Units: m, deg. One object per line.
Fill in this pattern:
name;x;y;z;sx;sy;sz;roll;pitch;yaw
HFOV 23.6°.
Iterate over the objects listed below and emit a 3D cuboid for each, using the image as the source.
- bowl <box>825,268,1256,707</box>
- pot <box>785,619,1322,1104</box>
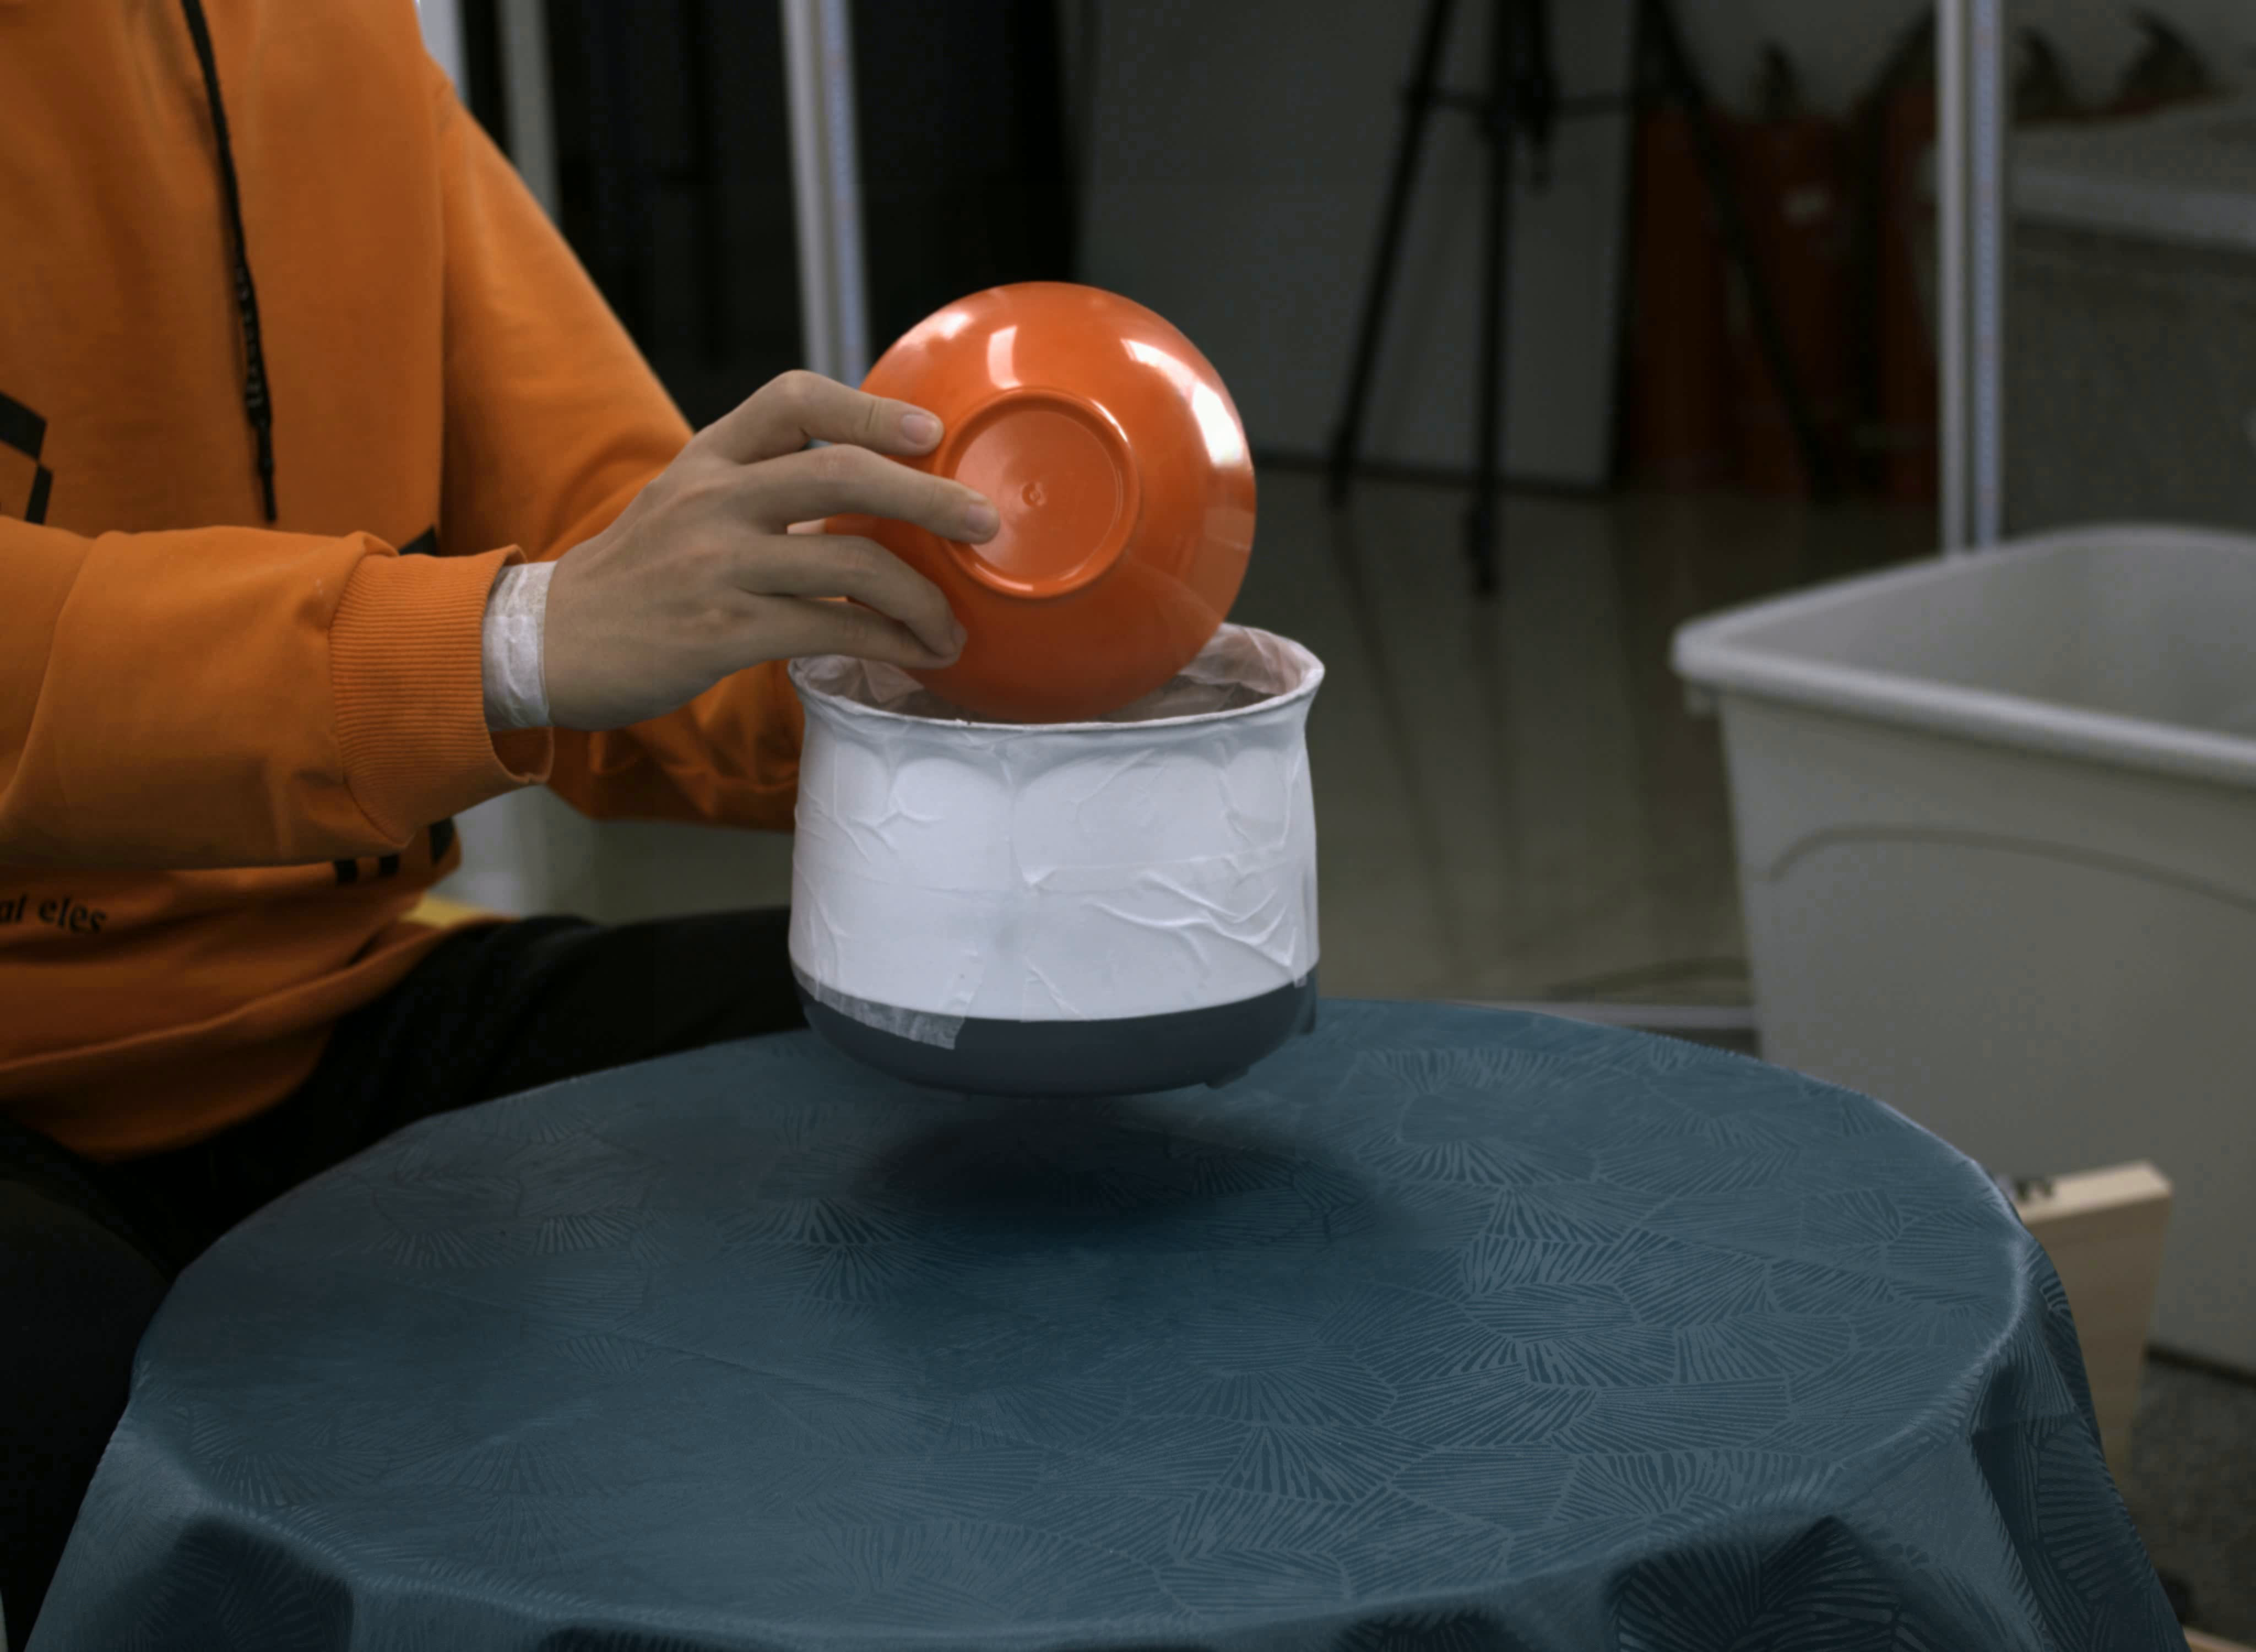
bowl;-0.023;-0.108;1.750;0.146;0.150;0.105;-5;3;-5
pot;-0.032;0.002;1.799;0.175;0.138;0.235;-3;14;-14
